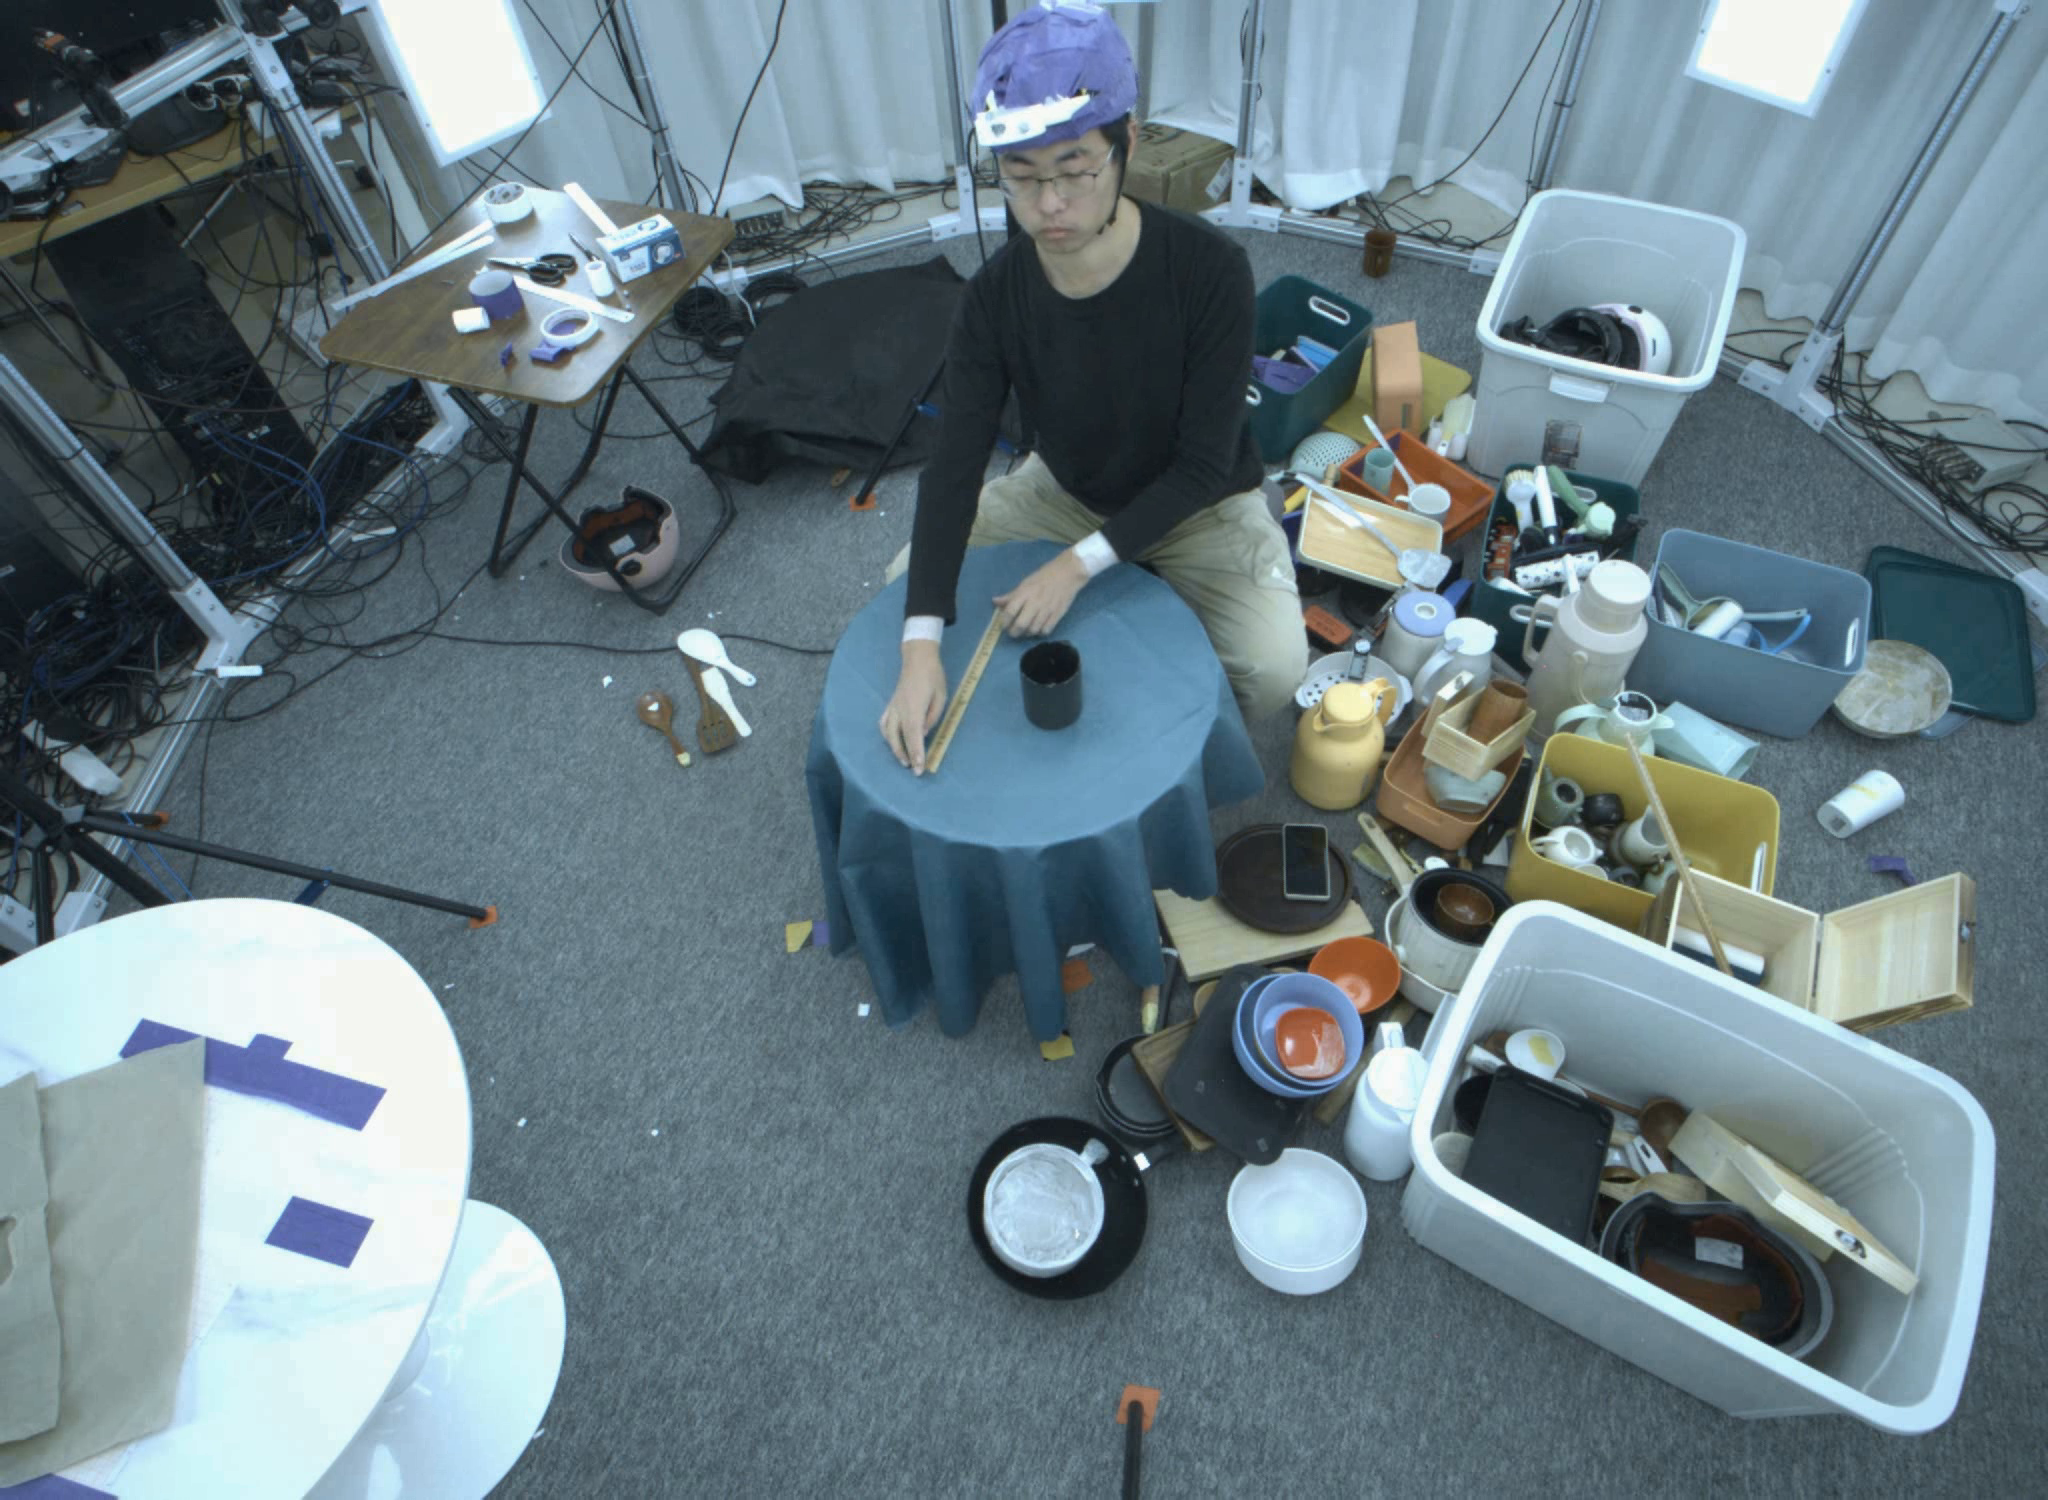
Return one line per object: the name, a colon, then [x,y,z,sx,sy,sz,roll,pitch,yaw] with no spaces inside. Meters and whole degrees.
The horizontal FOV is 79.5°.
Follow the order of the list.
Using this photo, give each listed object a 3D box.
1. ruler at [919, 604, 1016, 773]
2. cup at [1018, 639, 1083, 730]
ruler: [-0.084,-0.102,1.856,0.027,0.022,0.331,18,58,10]
cup: [0.046,-0.108,1.800,0.088,0.106,0.123,13,56,15]
